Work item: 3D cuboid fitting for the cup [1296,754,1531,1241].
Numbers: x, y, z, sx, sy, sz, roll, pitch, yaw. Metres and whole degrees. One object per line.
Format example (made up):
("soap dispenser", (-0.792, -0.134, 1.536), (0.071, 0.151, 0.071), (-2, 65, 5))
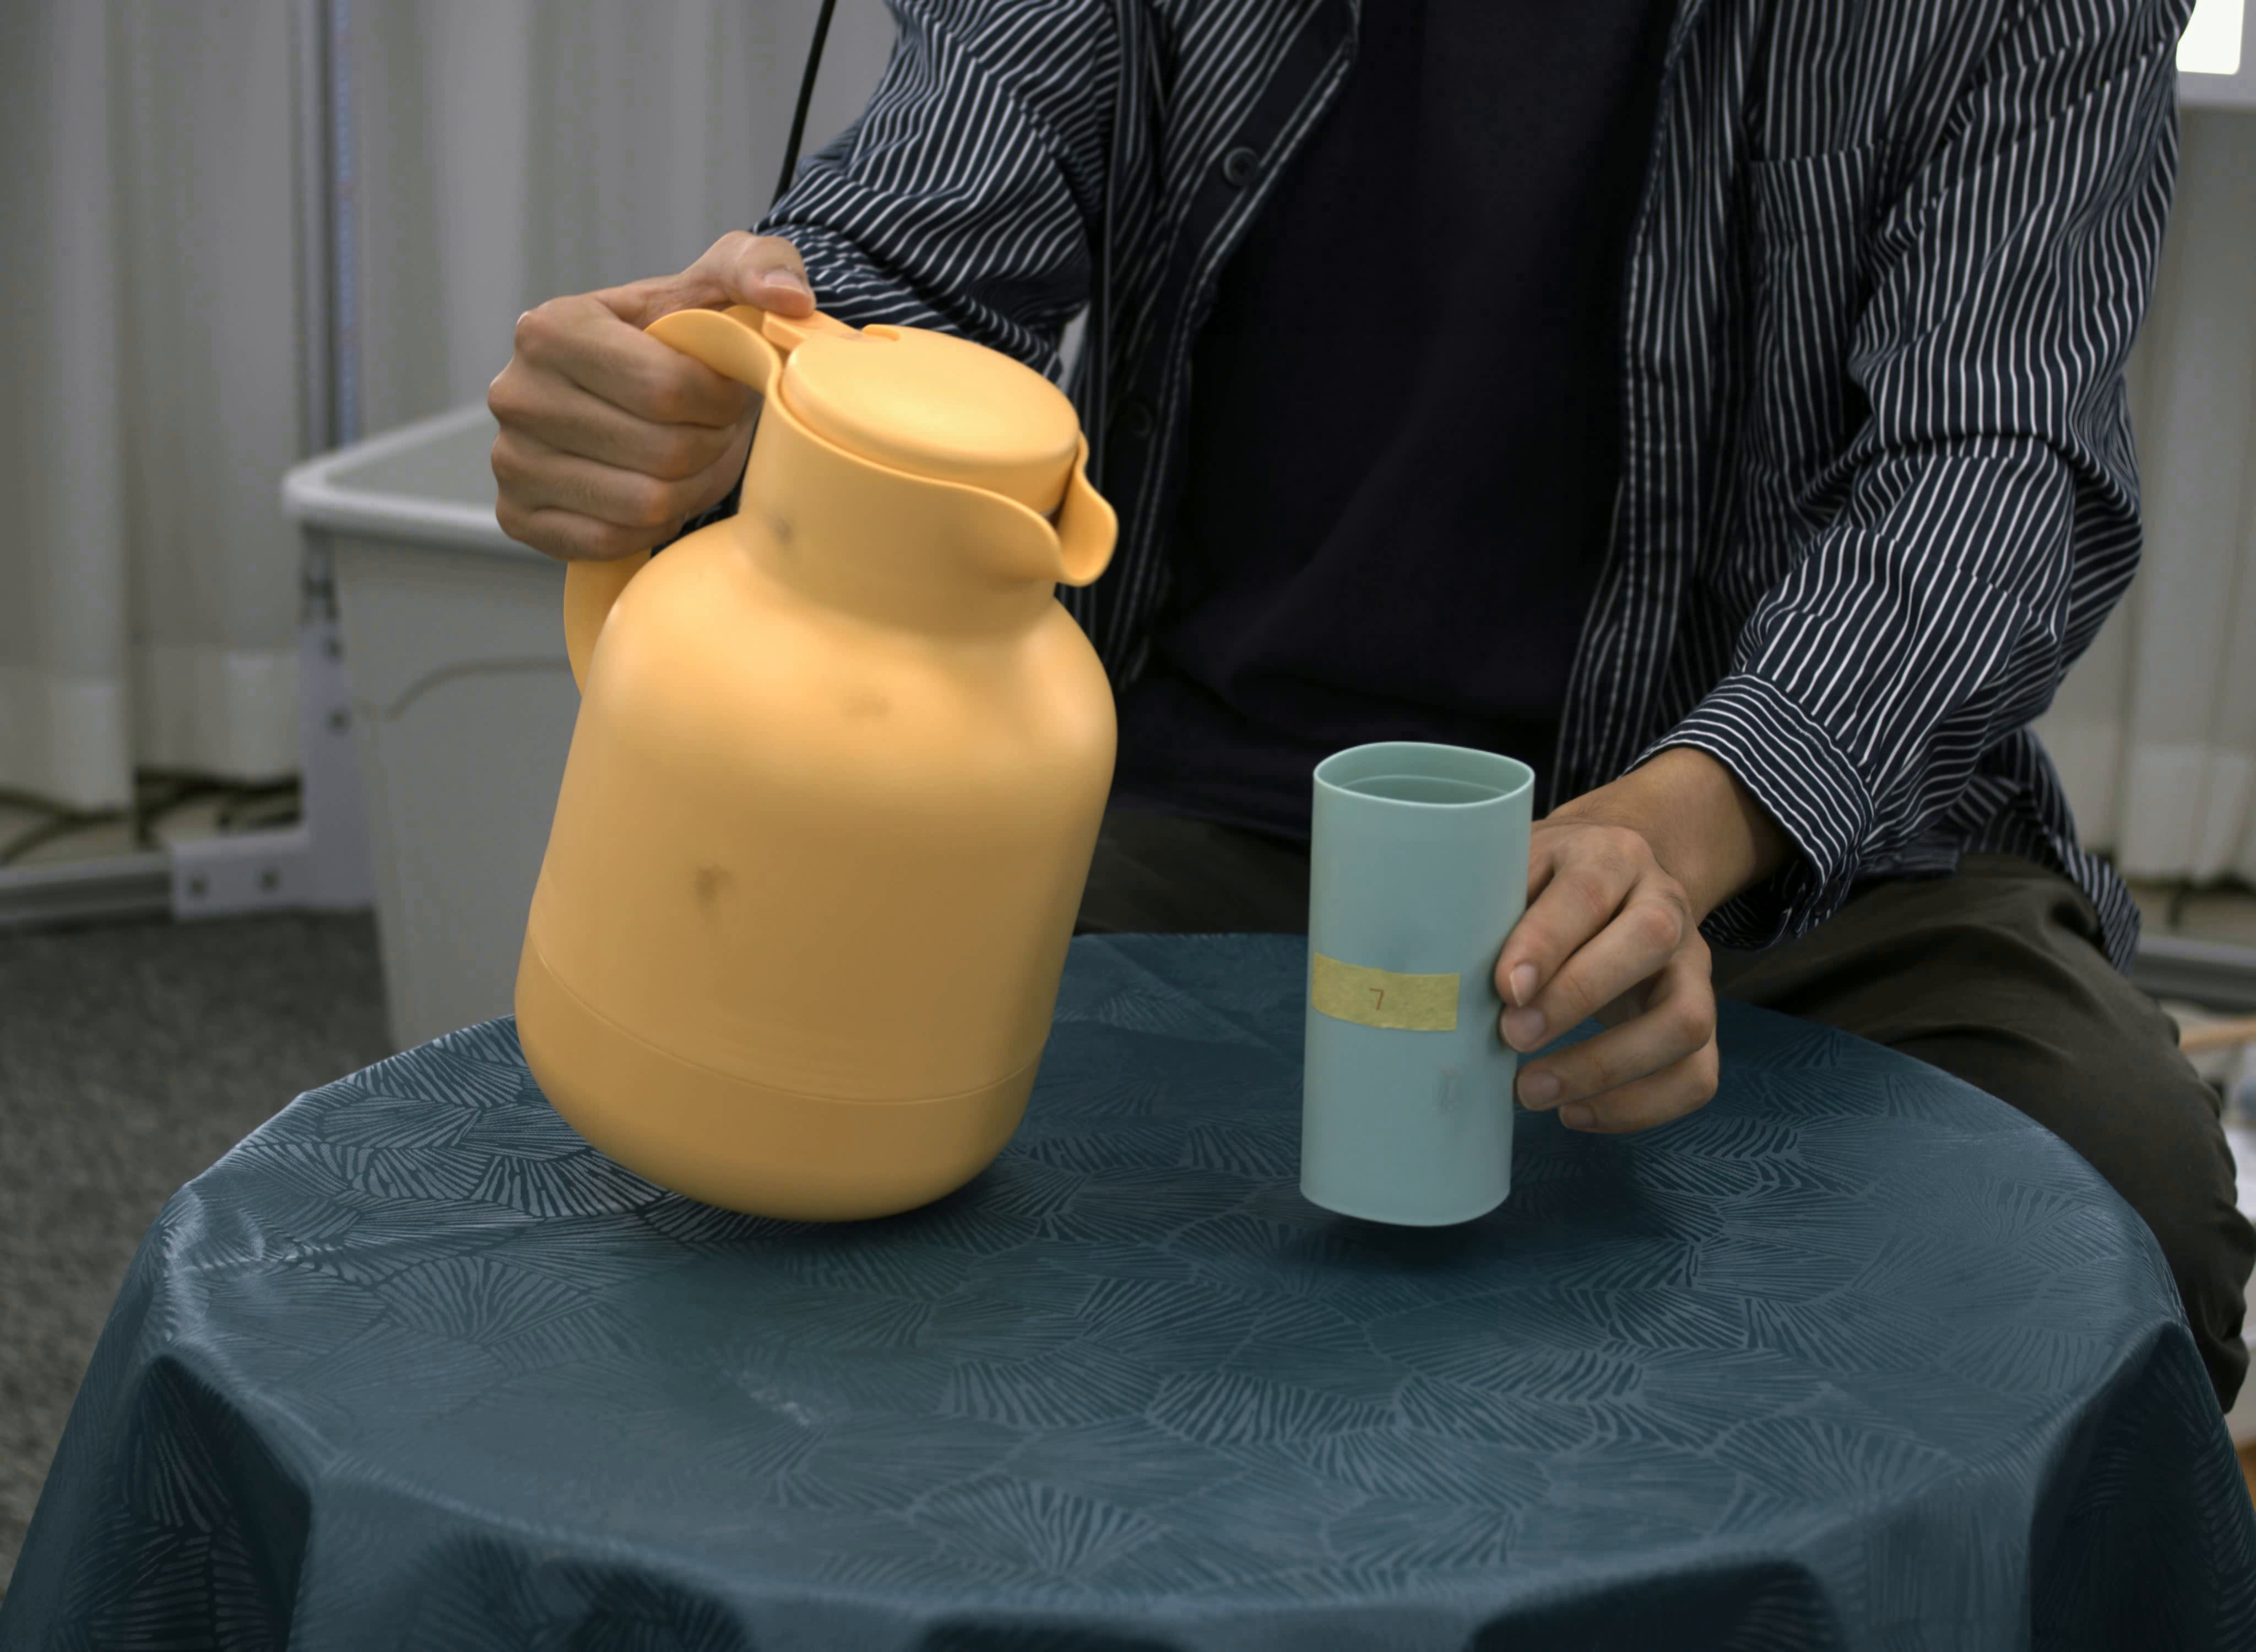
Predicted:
("cup", (0.084, 0.049, 1.562), (0.066, 0.133, 0.066), (2, 17, 0))

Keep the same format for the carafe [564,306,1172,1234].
("carafe", (-0.084, -0.026, 1.593), (0.200, 0.262, 0.164), (33, 30, 32))
